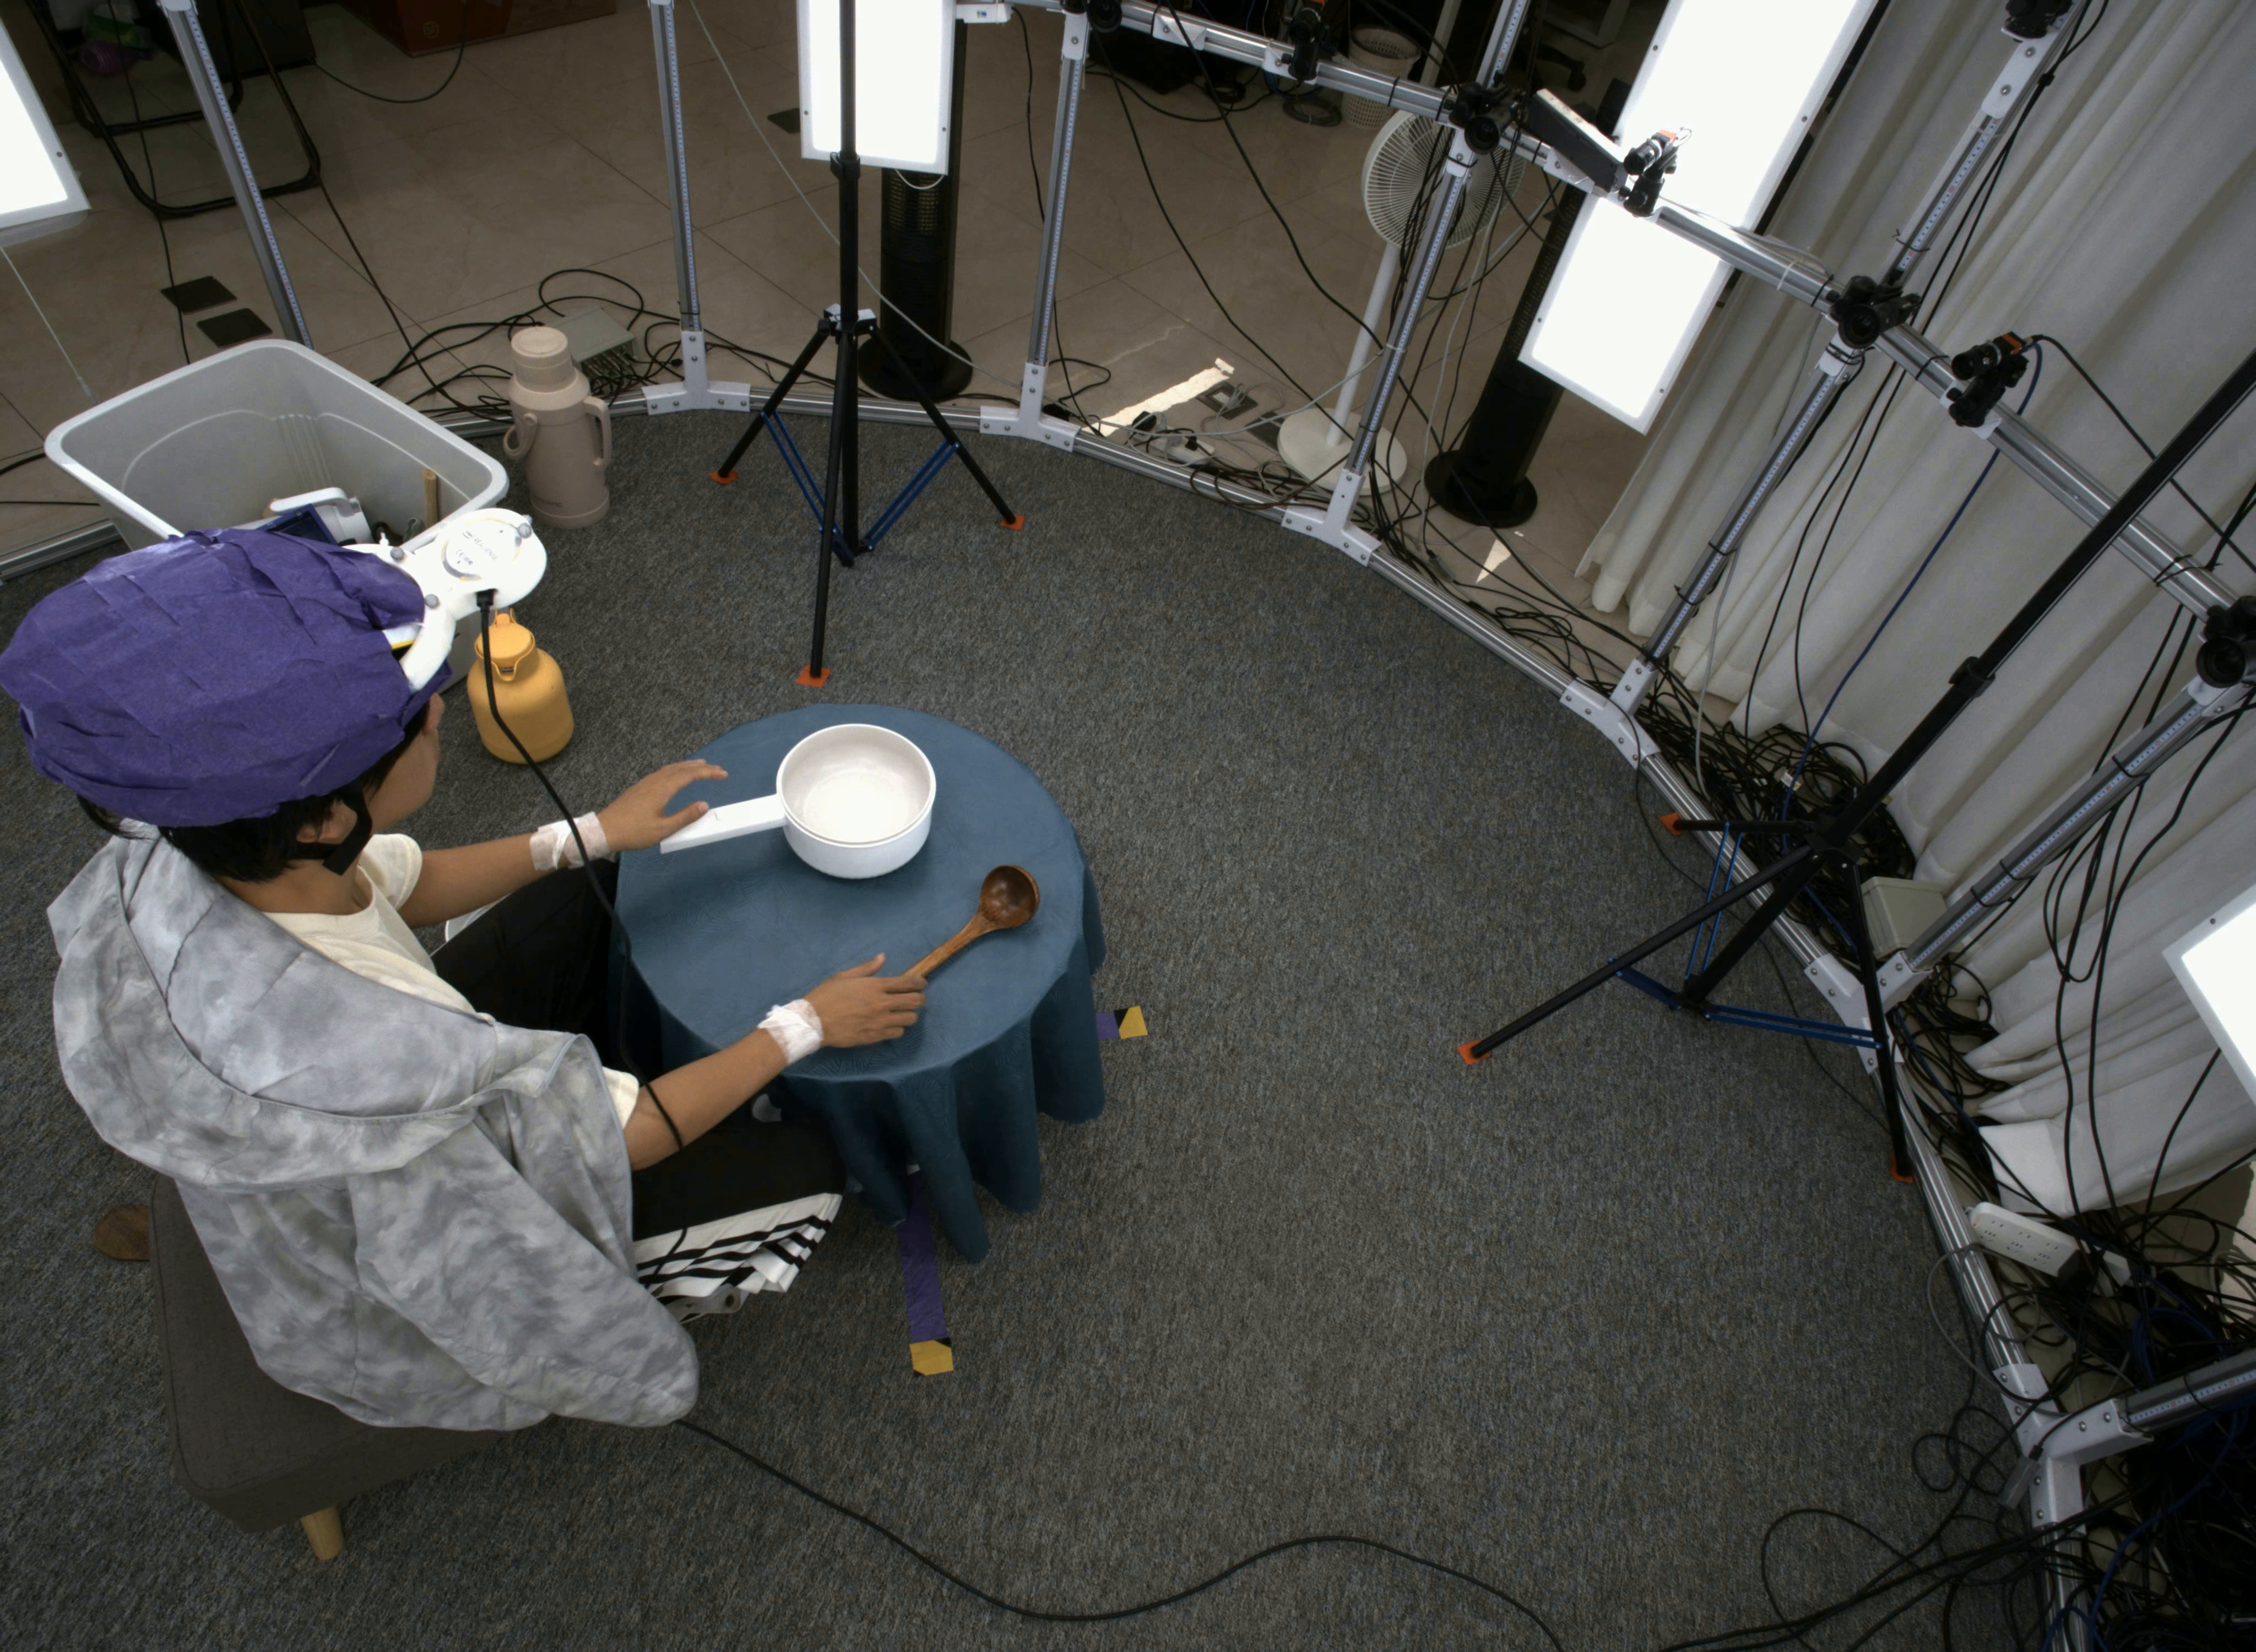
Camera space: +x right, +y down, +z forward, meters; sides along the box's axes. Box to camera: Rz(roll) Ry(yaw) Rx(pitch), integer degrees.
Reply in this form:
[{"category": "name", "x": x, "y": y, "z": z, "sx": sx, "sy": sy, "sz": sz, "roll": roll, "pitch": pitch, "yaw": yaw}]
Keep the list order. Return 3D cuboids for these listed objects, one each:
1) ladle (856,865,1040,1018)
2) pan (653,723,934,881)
[{"category": "ladle", "x": -0.222, "y": 0.141, "z": 1.620, "sx": 0.080, "sy": 0.078, "sz": 0.275, "roll": 43, "pitch": 55, "yaw": 18}, {"category": "pan", "x": -0.425, "y": -0.008, "z": 1.670, "sx": 0.356, "sy": 0.104, "sz": 0.196, "roll": -15, "pitch": 59, "yaw": -22}]
